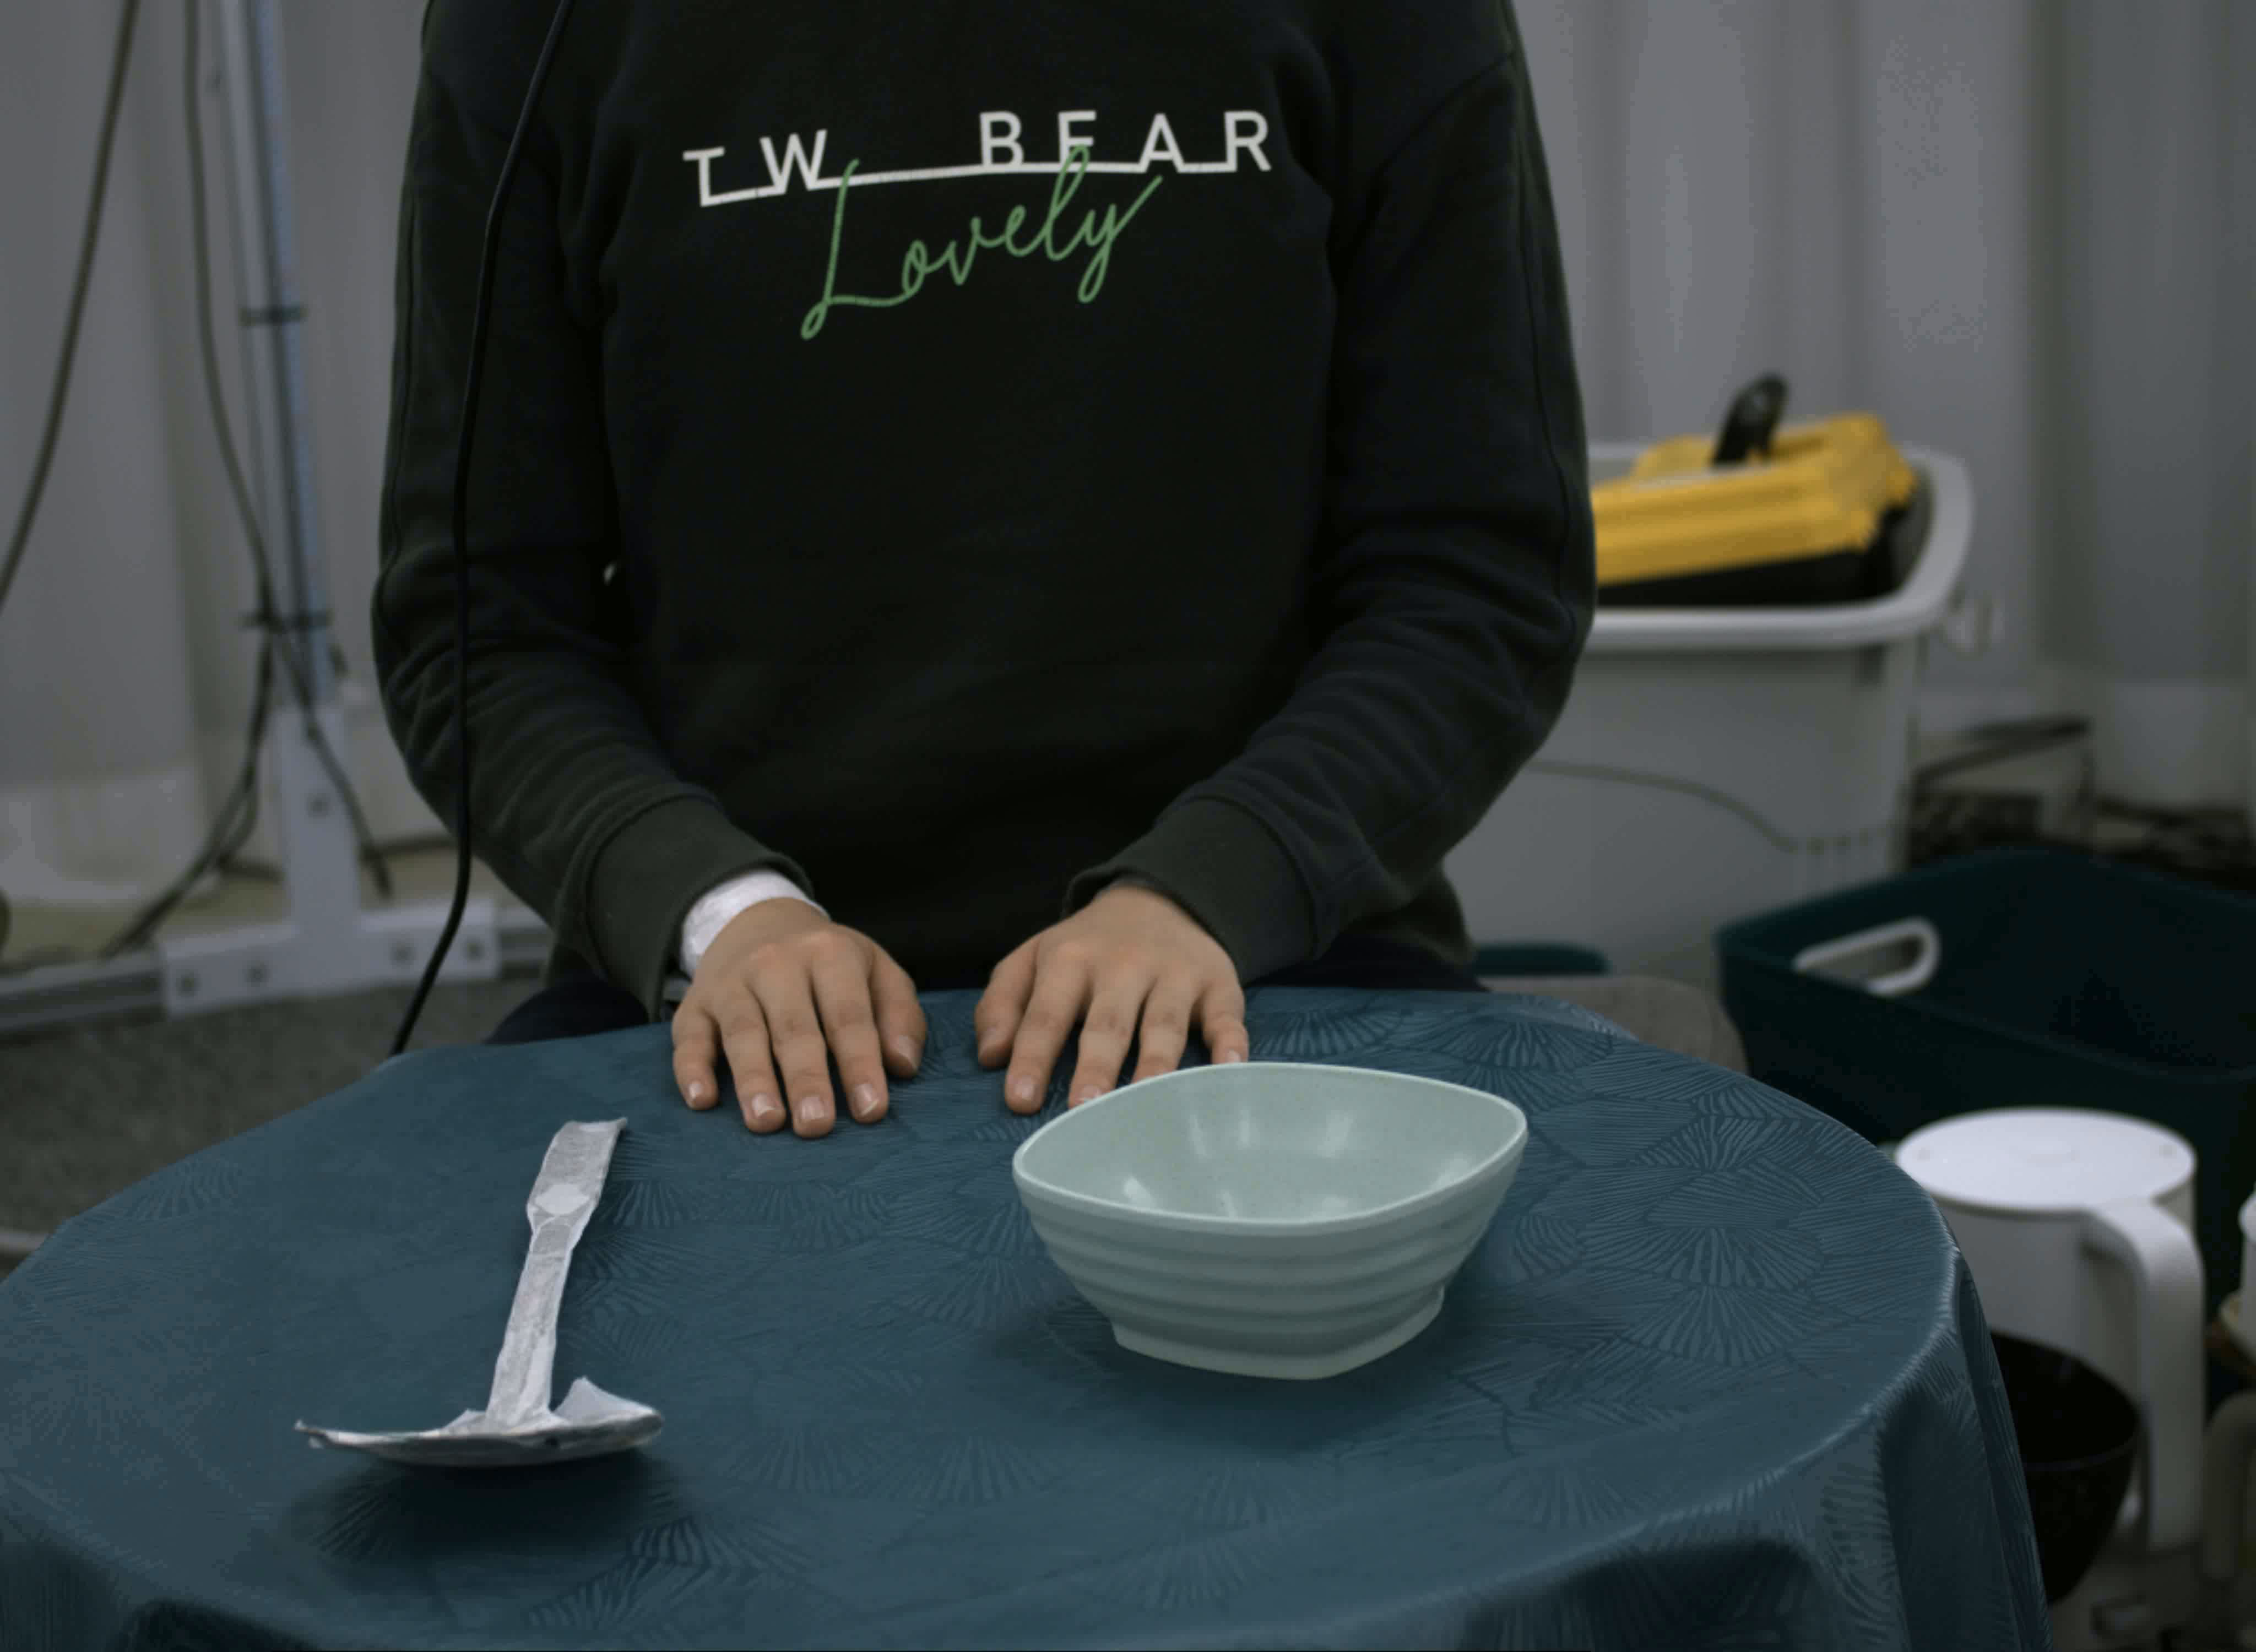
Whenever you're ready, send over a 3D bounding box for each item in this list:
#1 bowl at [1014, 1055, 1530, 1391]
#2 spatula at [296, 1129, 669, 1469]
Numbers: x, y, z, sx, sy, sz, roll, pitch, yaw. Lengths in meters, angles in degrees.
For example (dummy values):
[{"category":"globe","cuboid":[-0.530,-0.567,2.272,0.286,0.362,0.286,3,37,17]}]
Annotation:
[{"category":"bowl","cuboid":[0.042,0.119,1.586,0.151,0.058,0.152,-1,17,0]},{"category":"spatula","cuboid":[-0.169,0.130,1.613,0.098,0.044,0.367,-4,15,2]}]
